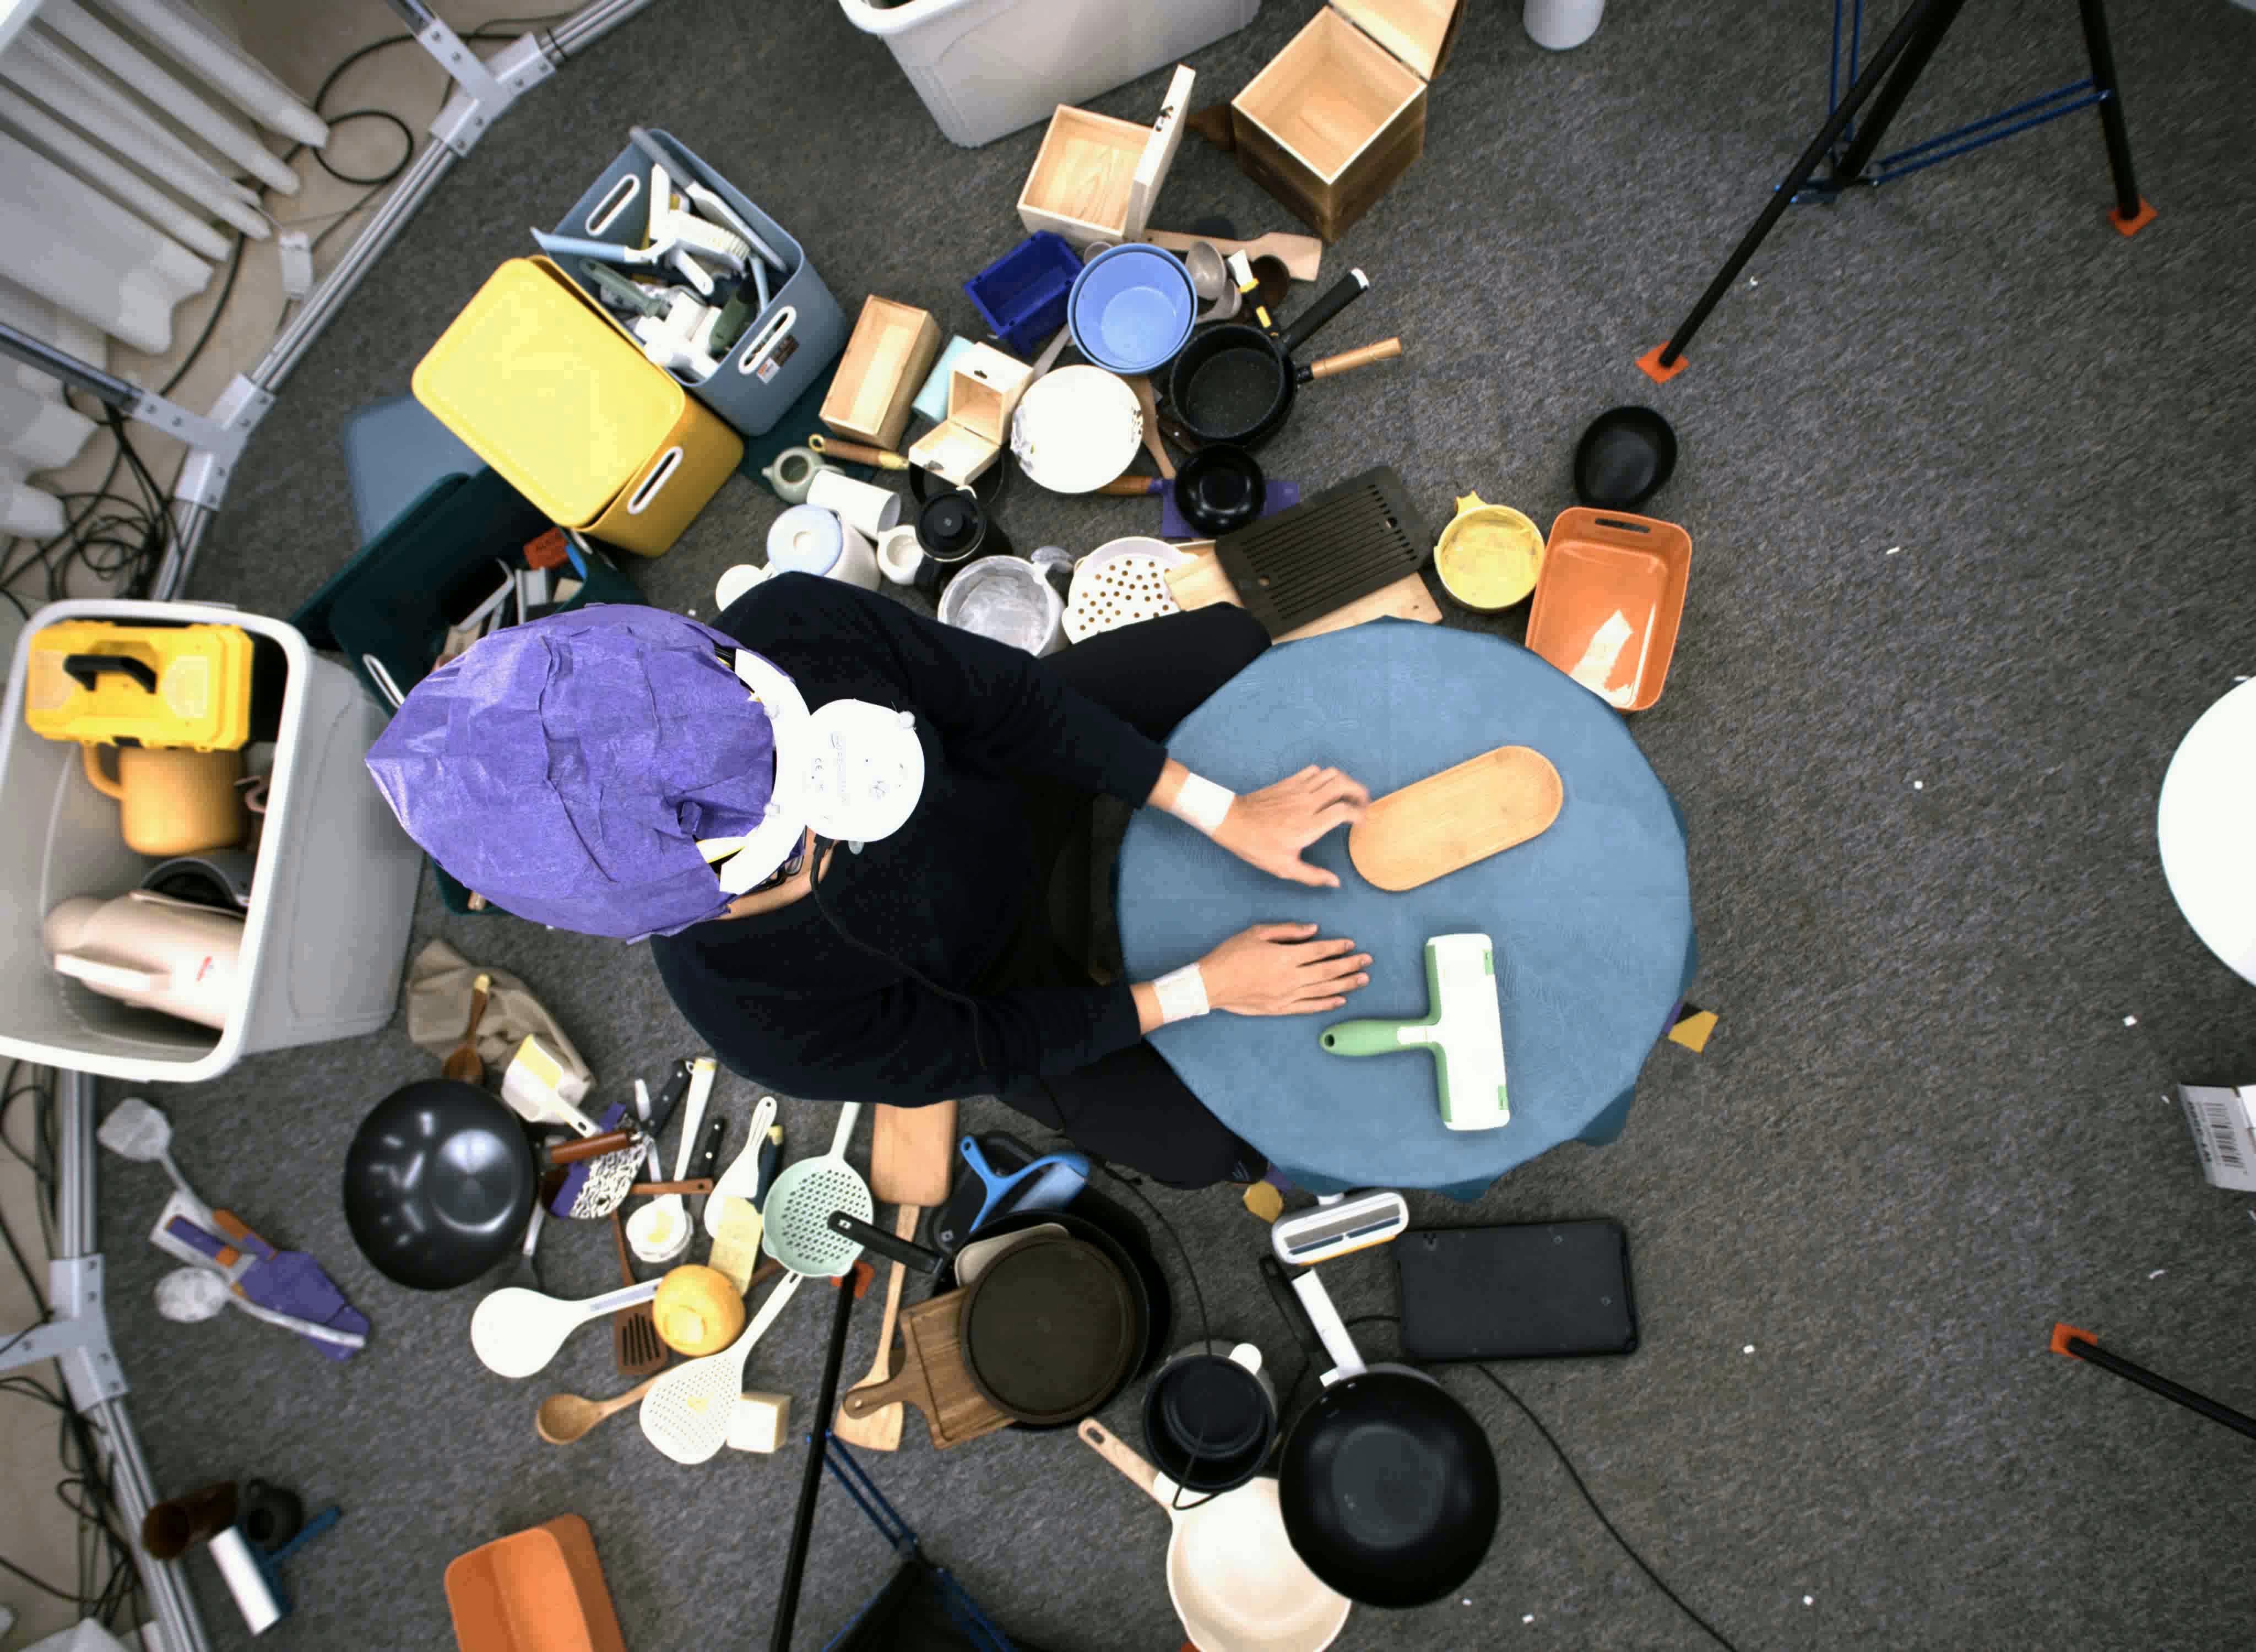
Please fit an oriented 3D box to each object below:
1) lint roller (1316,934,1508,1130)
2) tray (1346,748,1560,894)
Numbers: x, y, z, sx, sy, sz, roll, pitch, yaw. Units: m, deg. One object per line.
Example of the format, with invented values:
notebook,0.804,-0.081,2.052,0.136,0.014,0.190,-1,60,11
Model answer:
lint roller,0.284,0.212,1.405,0.184,0.082,0.197,-5,85,4
tray,0.340,-0.007,1.443,0.233,0.020,0.101,-24,82,10
